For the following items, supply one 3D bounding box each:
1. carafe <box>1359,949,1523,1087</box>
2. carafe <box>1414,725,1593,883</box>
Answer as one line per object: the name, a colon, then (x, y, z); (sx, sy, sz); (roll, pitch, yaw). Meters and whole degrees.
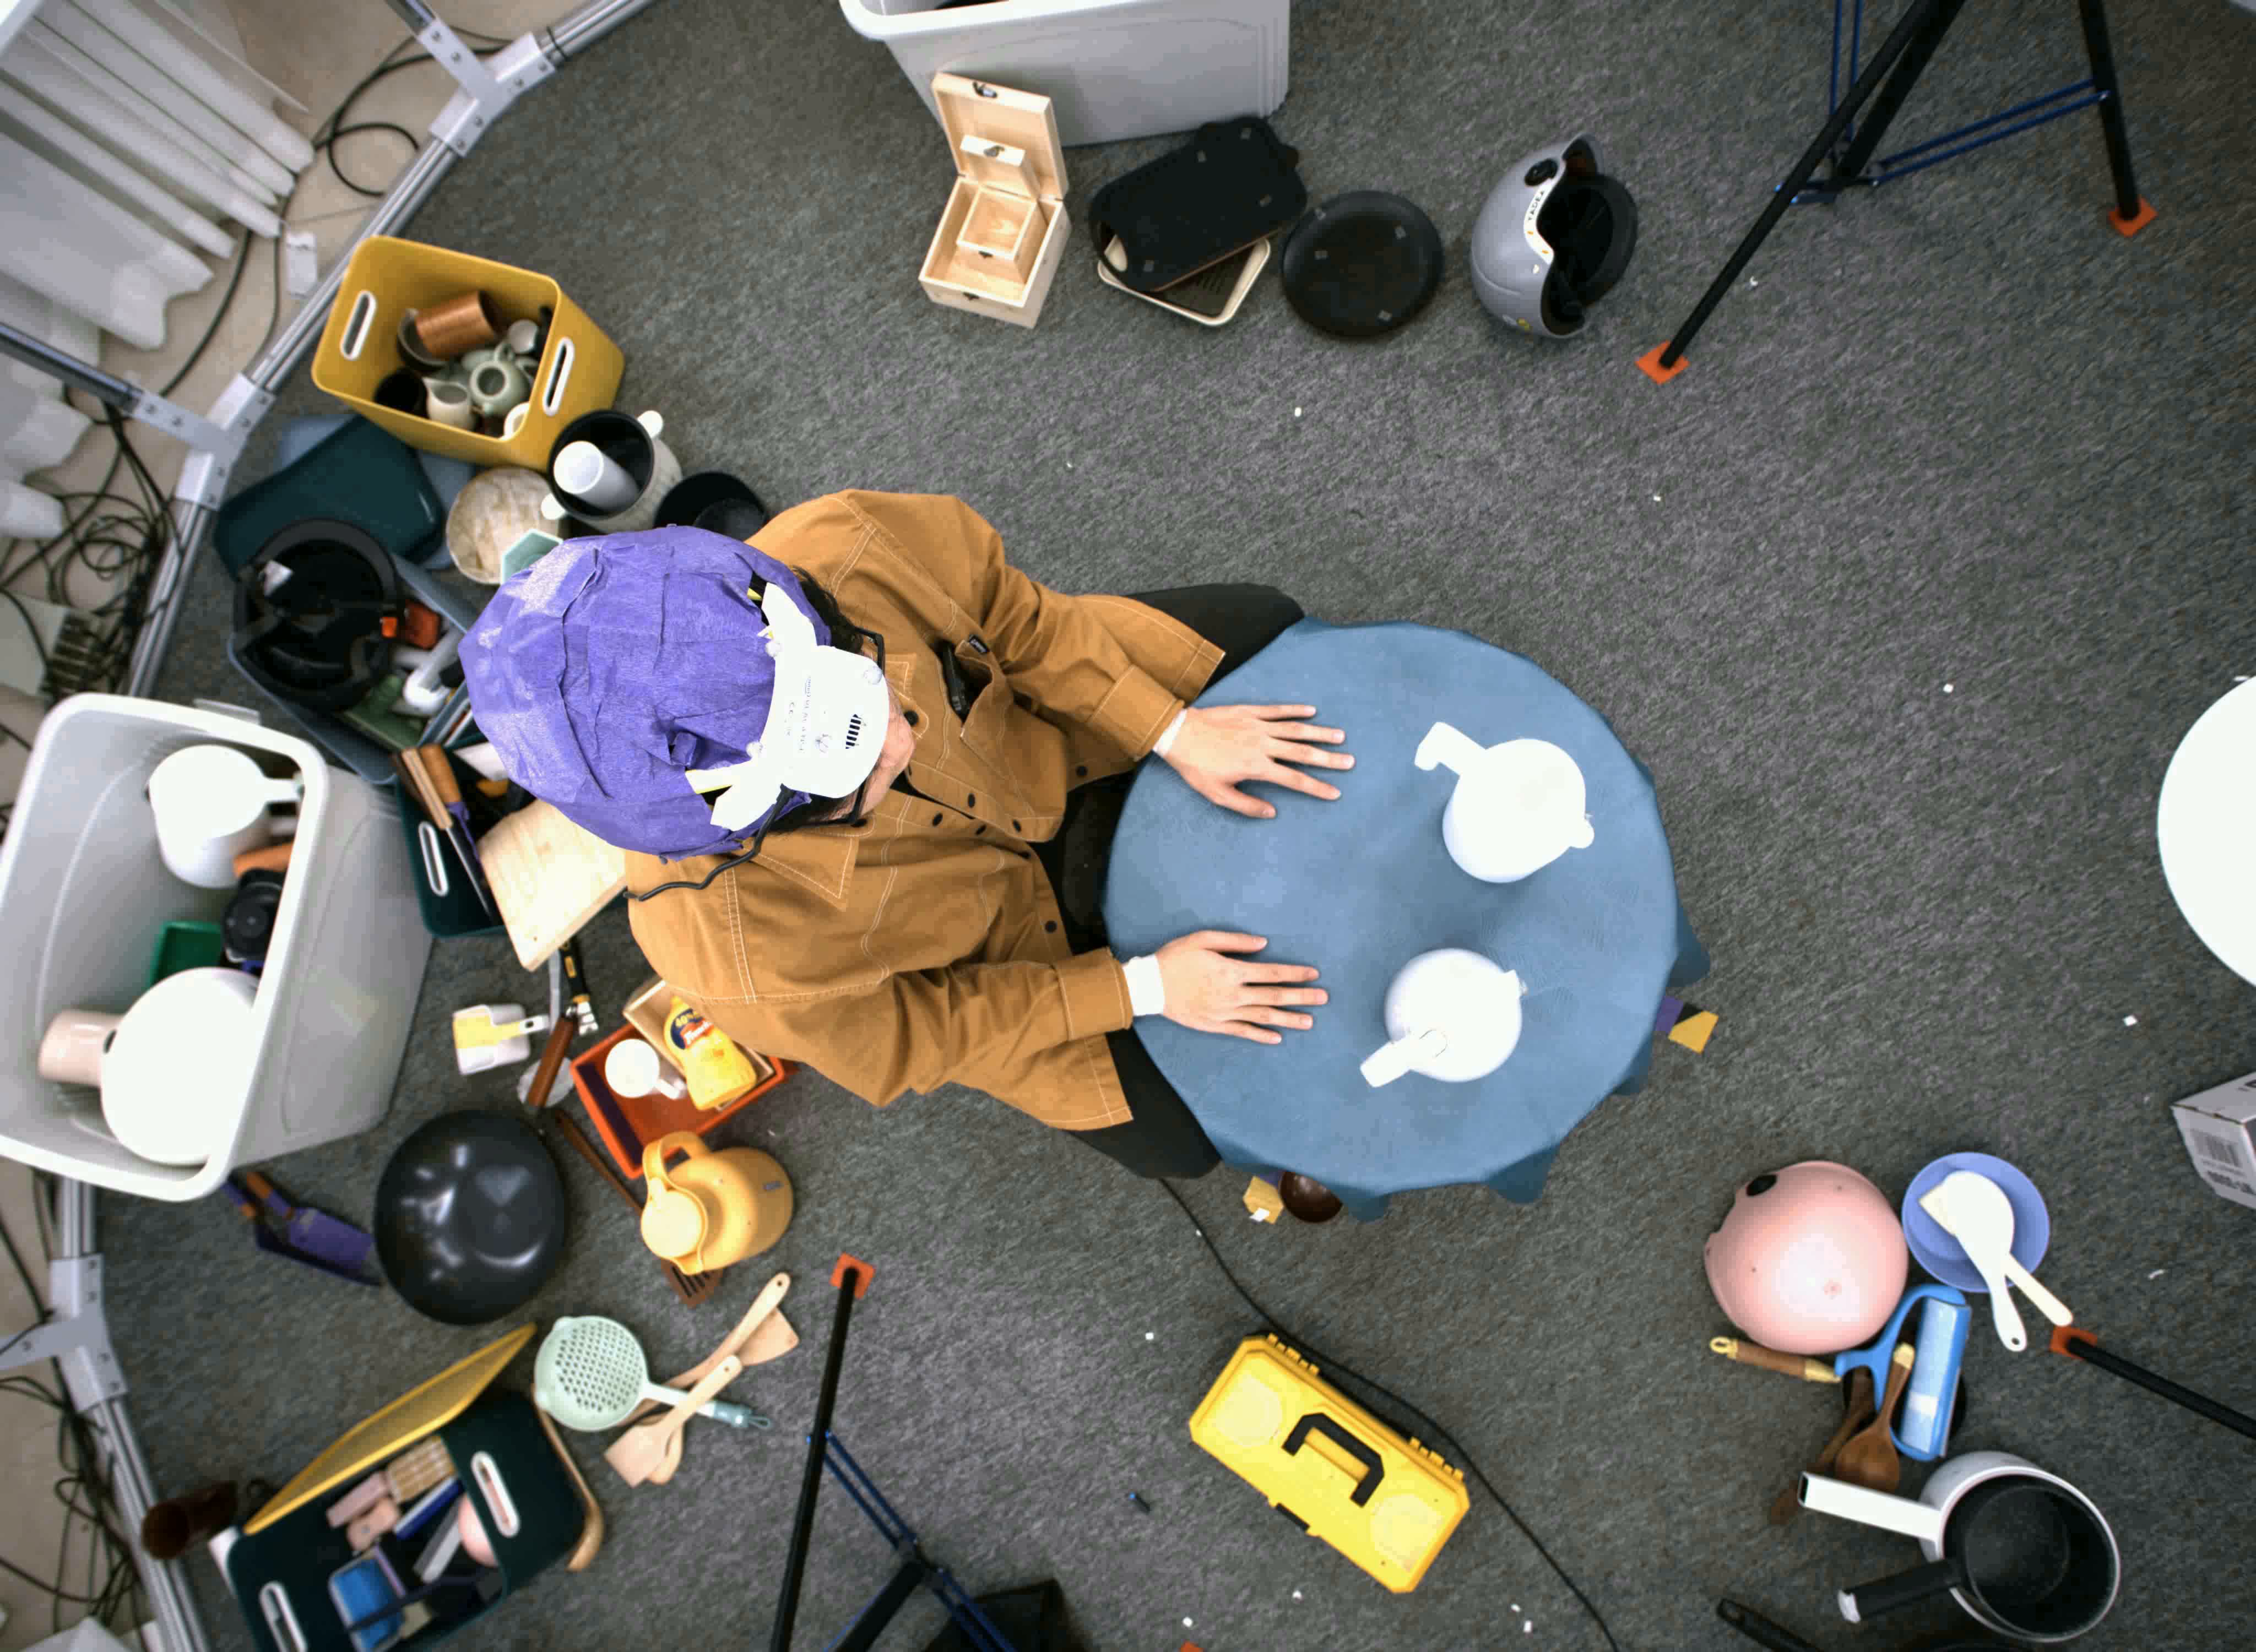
carafe: (0.297, 0.193, 1.324); (0.169, 0.249, 0.131); (-36, 80, 6)
carafe: (0.351, -0.022, 1.315); (0.172, 0.269, 0.124); (36, 94, 11)
